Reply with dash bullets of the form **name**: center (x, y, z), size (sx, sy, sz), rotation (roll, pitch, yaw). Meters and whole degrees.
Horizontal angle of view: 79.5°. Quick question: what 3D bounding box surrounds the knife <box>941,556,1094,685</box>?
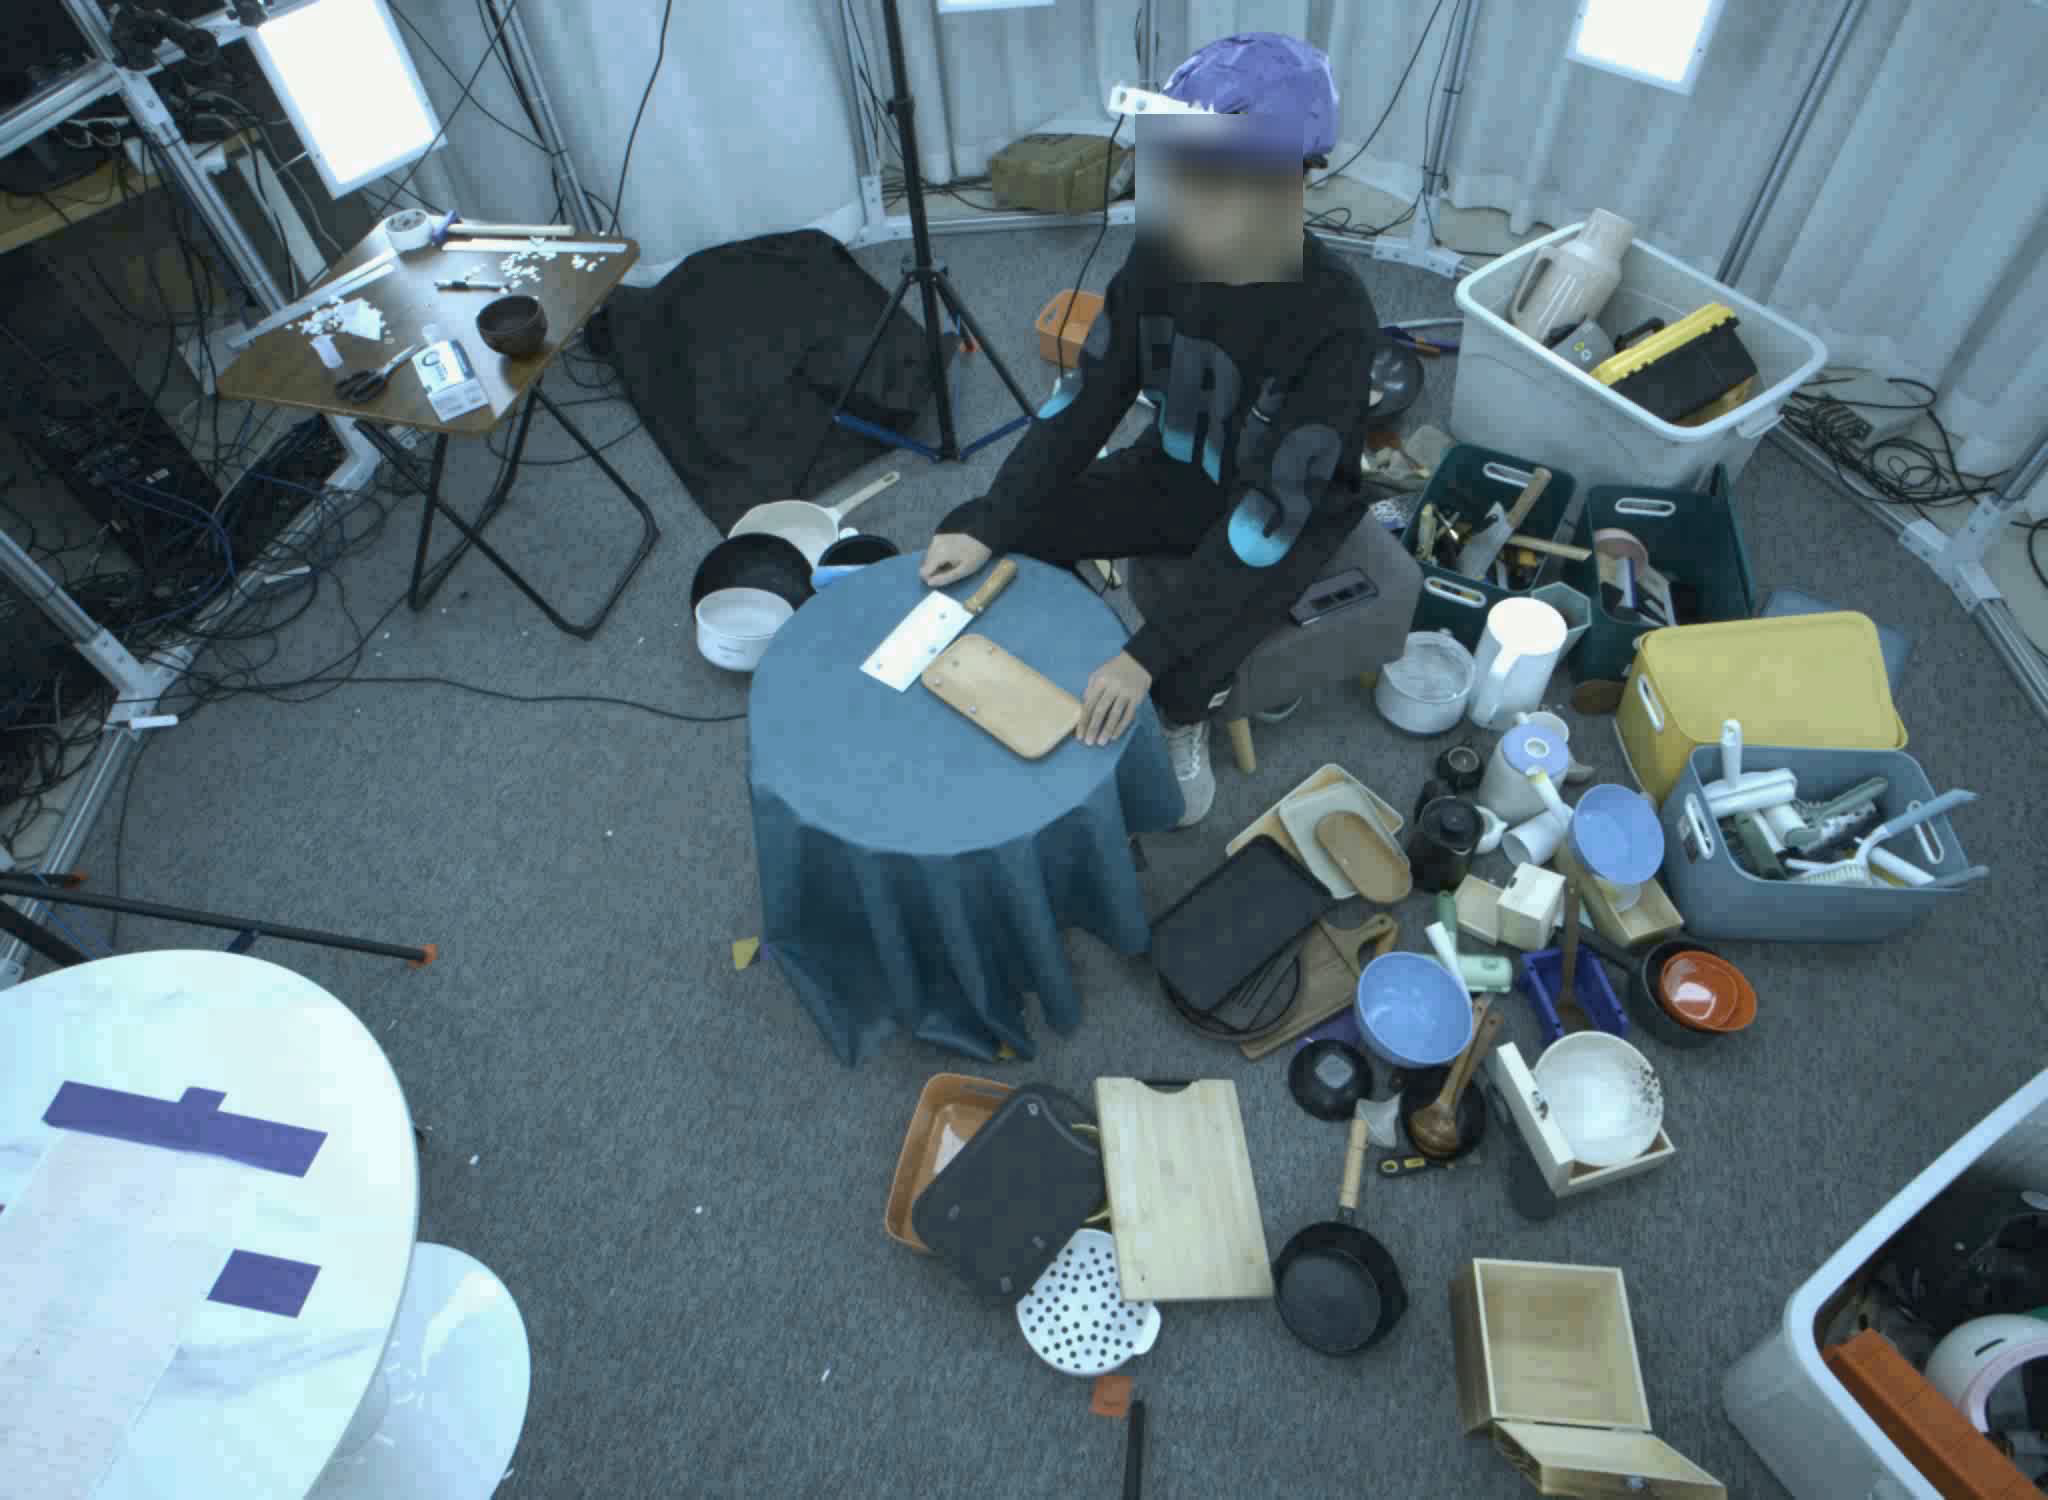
- **knife**: center (-0.013, -0.216, 1.931), size (0.091, 0.021, 0.307), rotation (33, 64, 25)

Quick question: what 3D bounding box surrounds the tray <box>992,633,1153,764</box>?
- **tray**: center (0.070, -0.079, 1.831), size (0.131, 0.023, 0.246), rotation (-38, 63, -19)
